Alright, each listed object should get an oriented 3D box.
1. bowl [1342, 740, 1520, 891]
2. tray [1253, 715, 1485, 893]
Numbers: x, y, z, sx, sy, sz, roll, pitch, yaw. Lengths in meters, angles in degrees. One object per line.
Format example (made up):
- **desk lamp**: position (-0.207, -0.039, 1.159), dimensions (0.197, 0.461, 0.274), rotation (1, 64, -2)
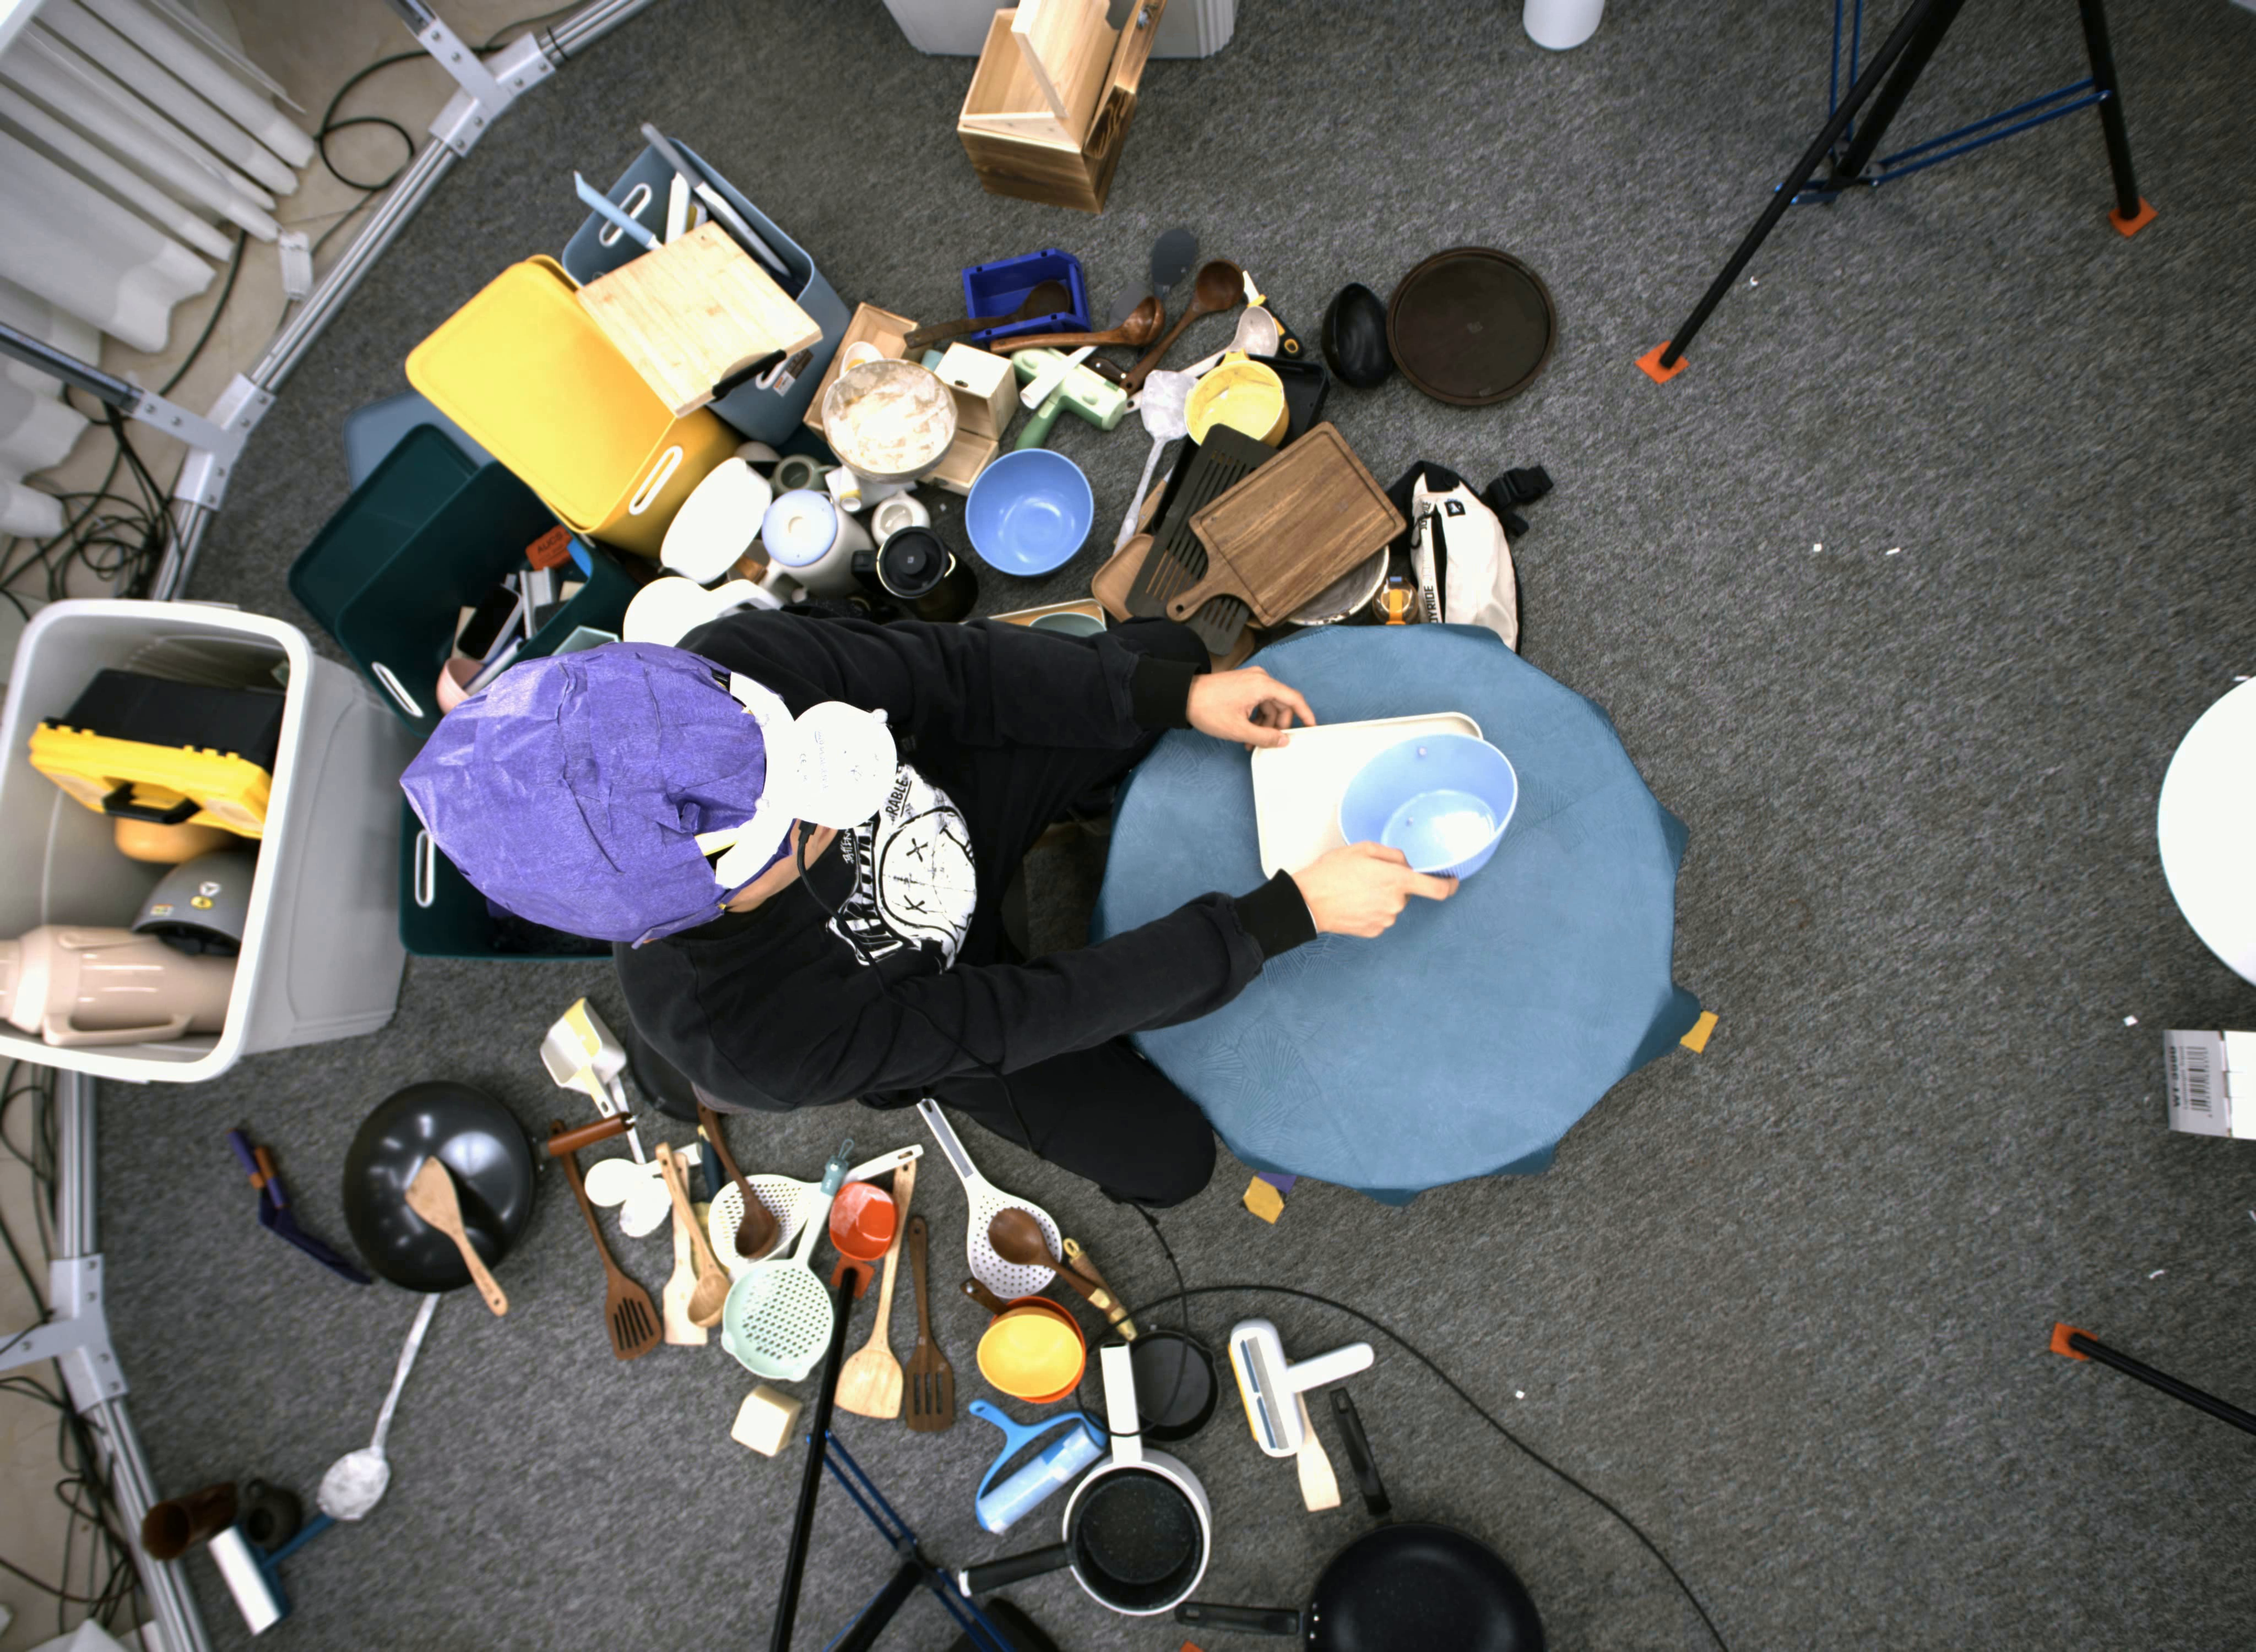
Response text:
- **bowl**: position (0.305, -0.002, 1.366), dimensions (0.177, 0.071, 0.171), rotation (-15, 46, 16)
- **tray**: position (0.255, -0.024, 1.440), dimensions (0.240, 0.017, 0.172), rotation (-6, 101, 6)
